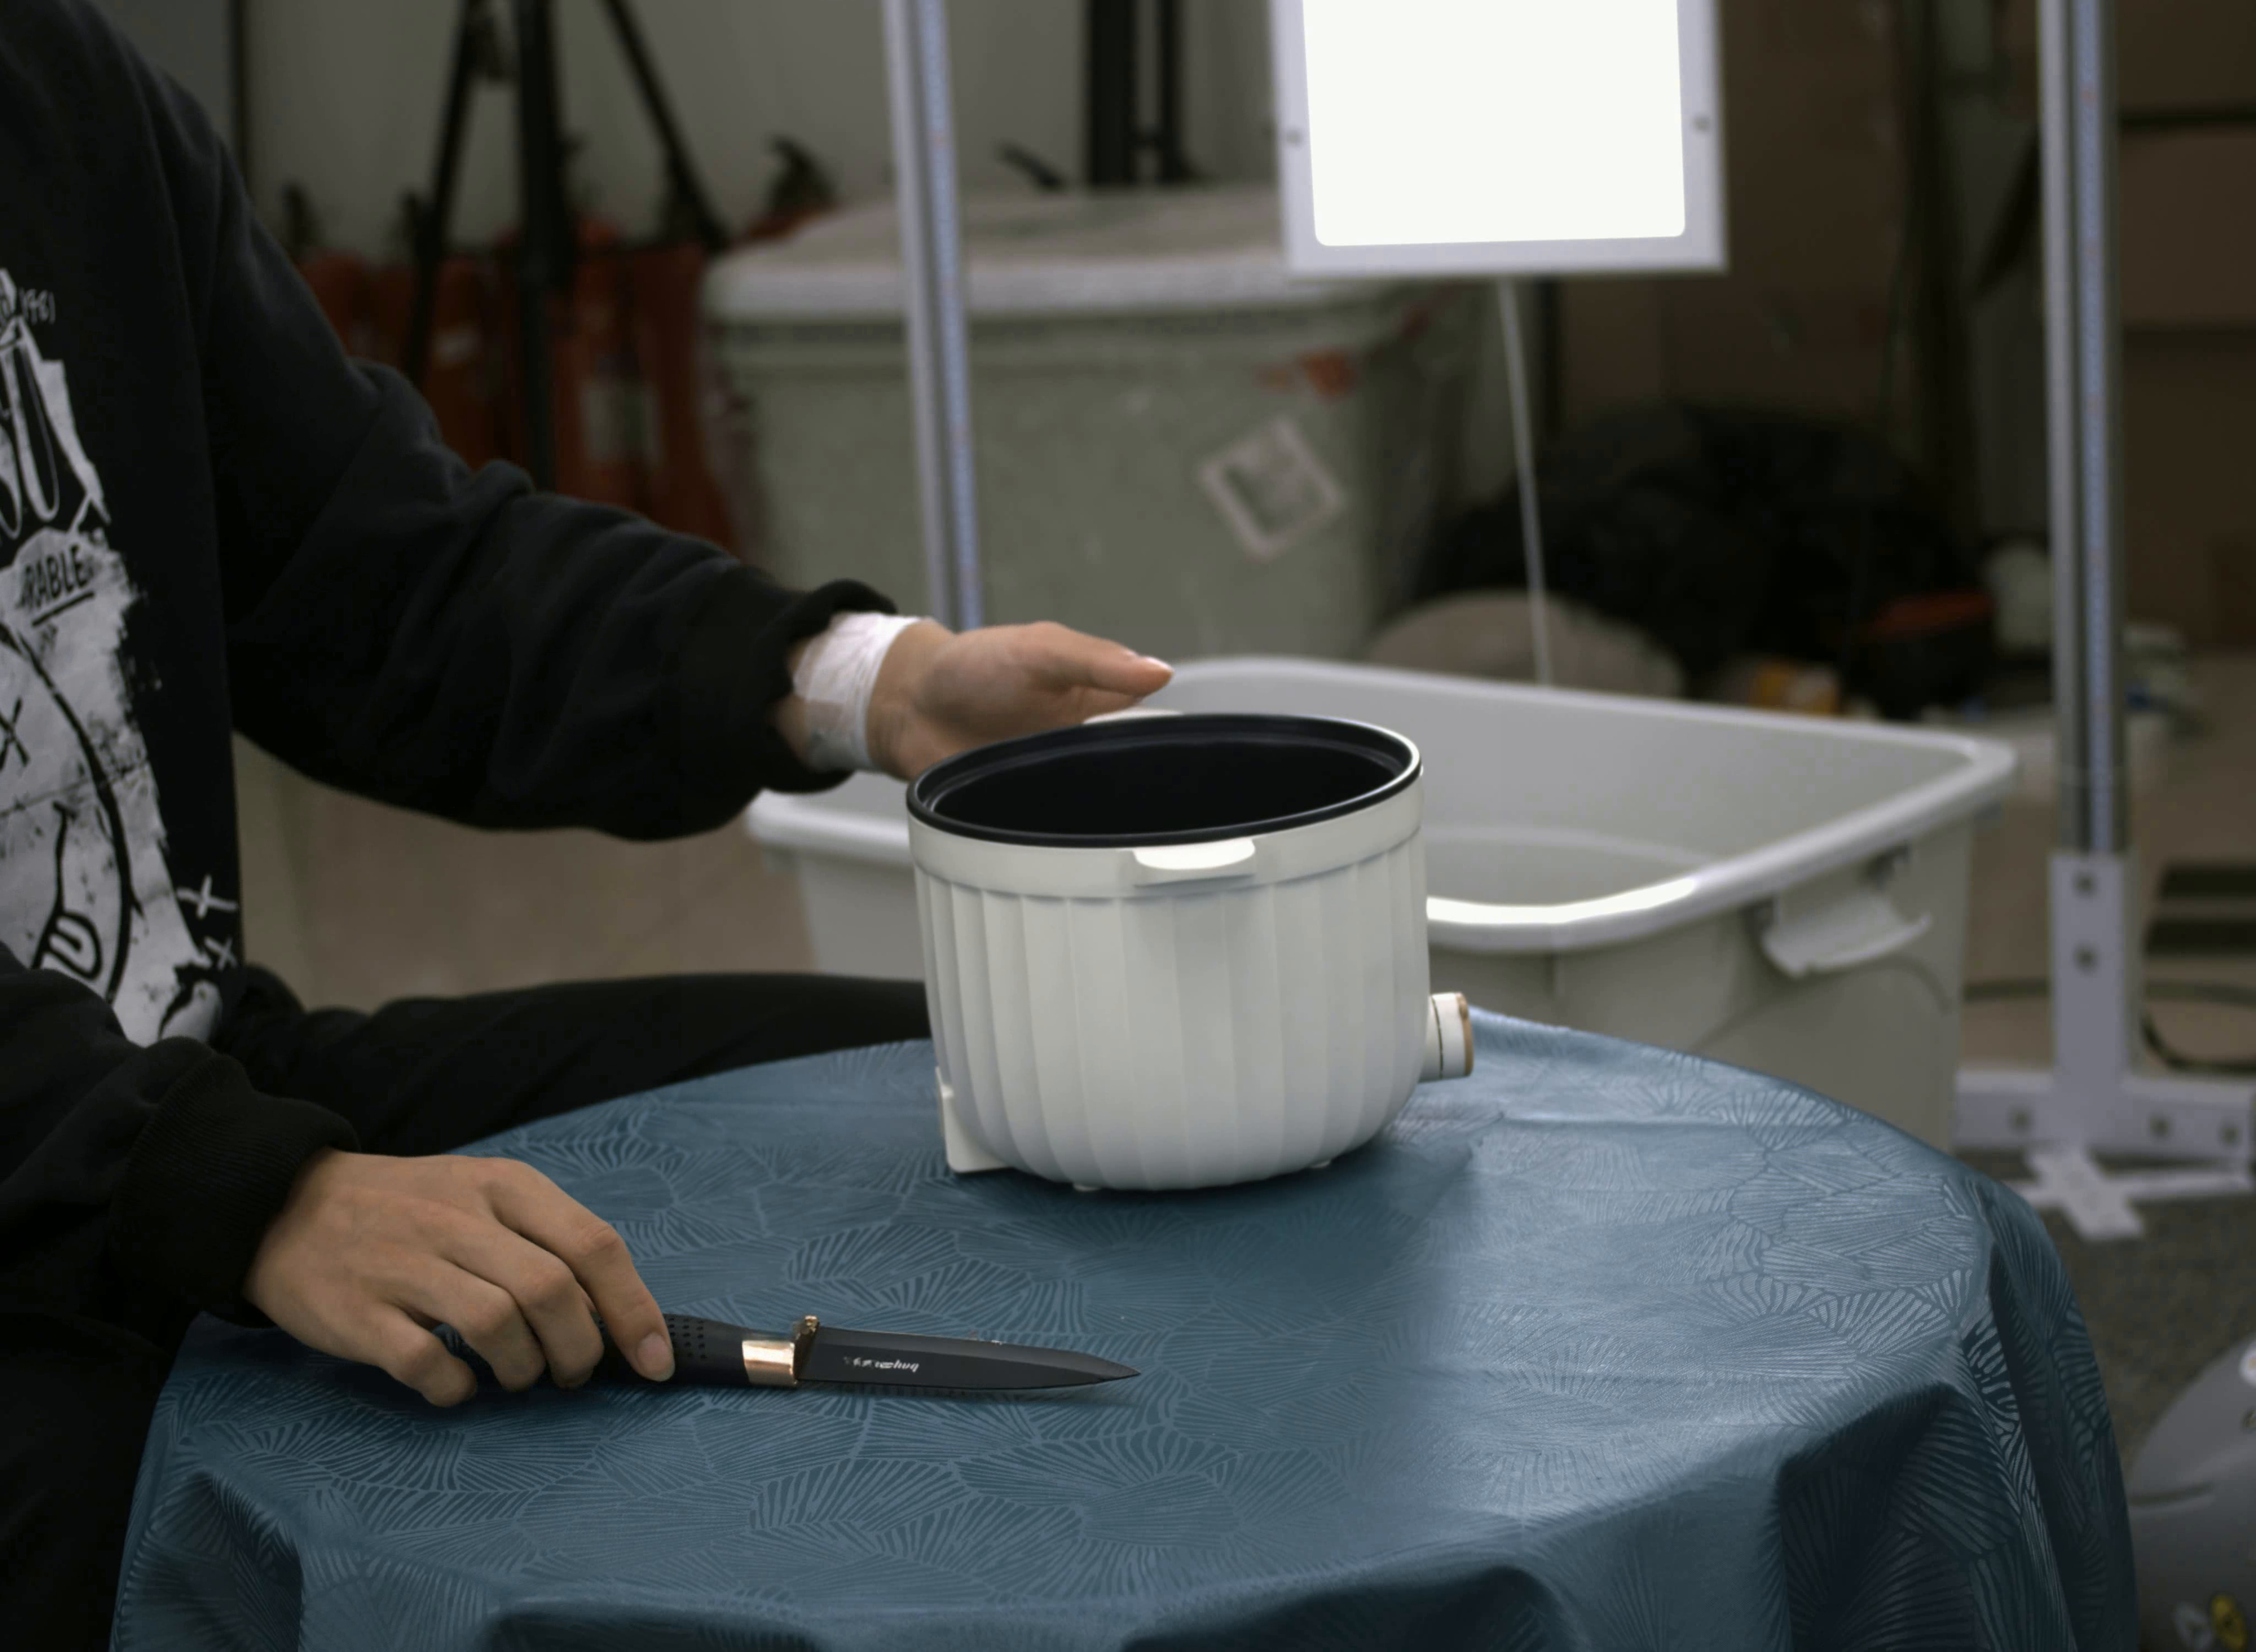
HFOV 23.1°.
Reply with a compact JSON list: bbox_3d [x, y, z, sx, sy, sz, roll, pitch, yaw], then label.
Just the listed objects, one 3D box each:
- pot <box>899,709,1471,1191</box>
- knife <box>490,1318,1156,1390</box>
[{"bbox_3d":[0.021,0.044,1.934,0.189,0.143,0.241,-9,15,-3],"label":"pot"},{"bbox_3d":[-0.098,0.166,1.736,0.229,0.017,0.026,-1,33,24],"label":"knife"}]
